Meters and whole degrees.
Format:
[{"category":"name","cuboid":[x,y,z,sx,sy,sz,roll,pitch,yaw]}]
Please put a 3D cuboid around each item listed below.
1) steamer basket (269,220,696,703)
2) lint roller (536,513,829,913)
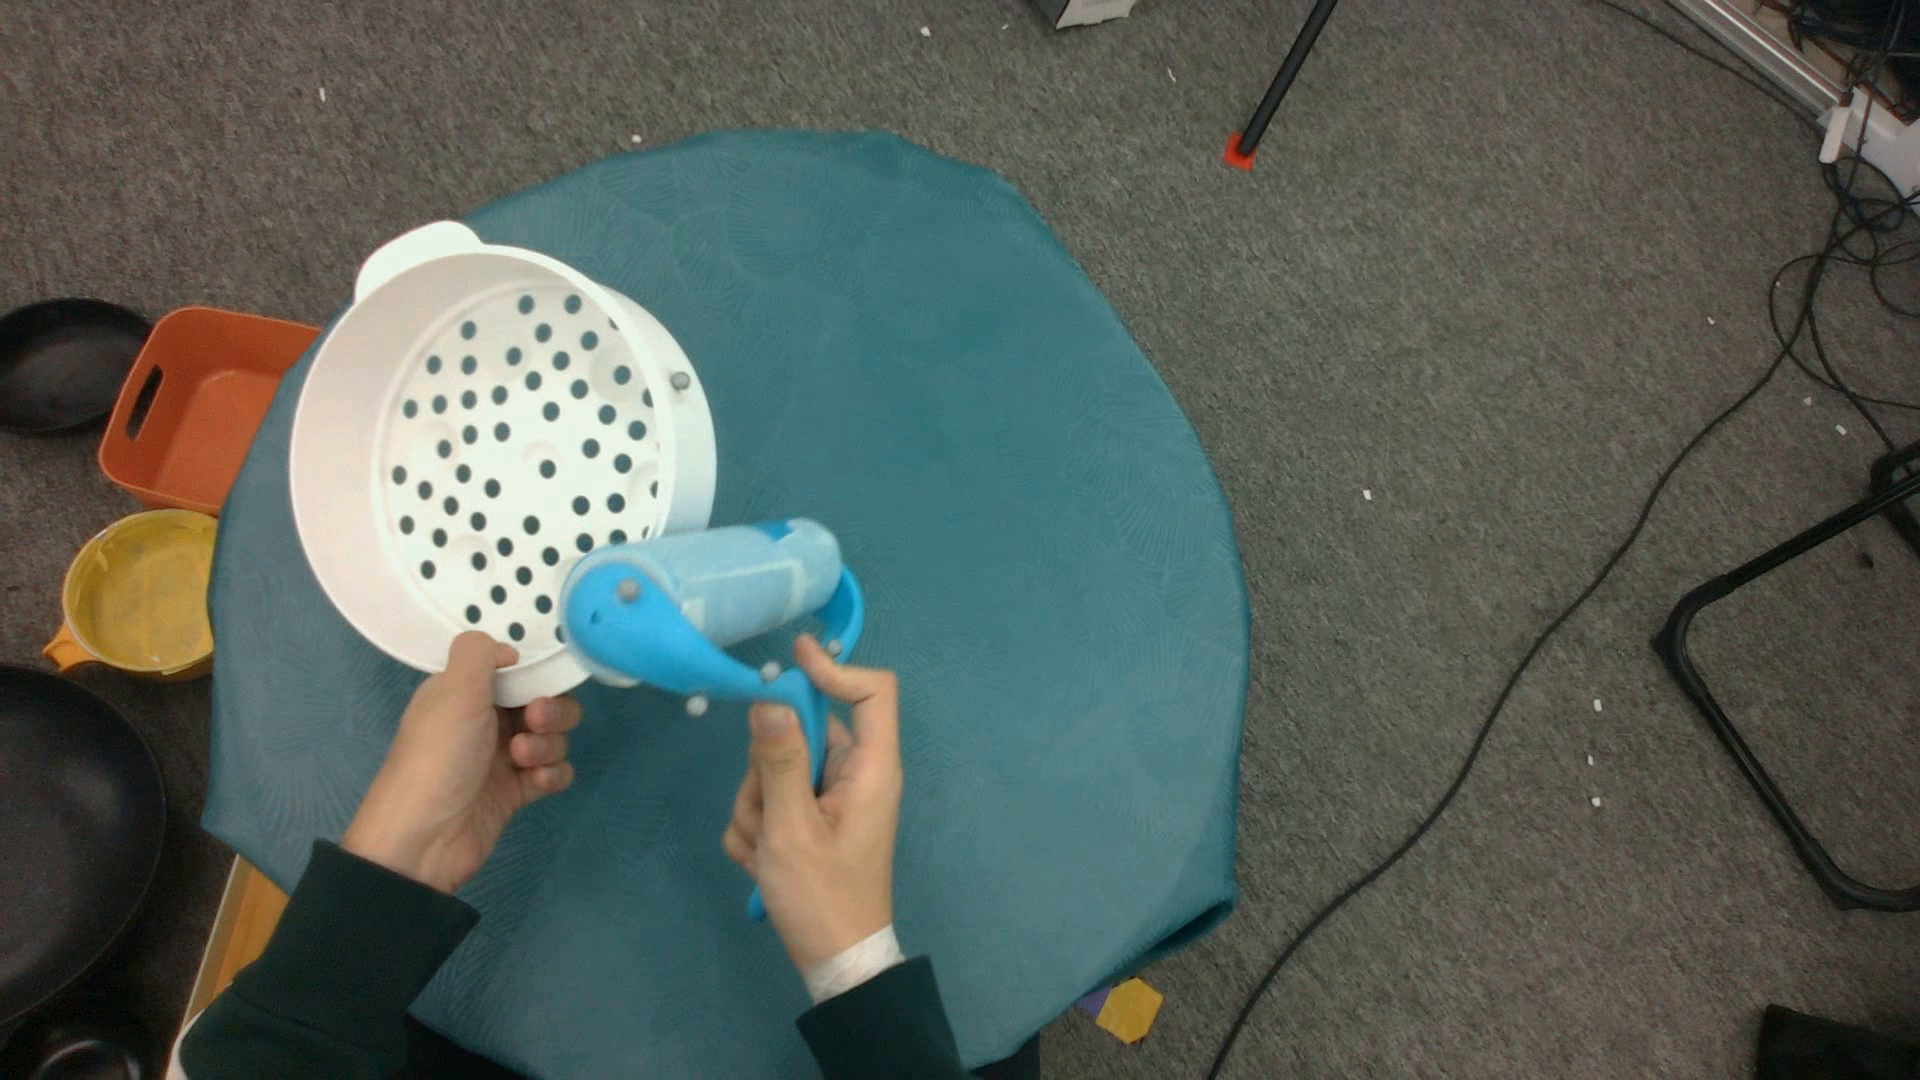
[{"category":"steamer basket","cuboid":[-0.228,-0.038,0.664,0.201,0.069,0.230,-22,86,15]},{"category":"lint roller","cuboid":[-0.103,0.079,0.636,0.068,0.229,0.180,-19,94,11]}]
